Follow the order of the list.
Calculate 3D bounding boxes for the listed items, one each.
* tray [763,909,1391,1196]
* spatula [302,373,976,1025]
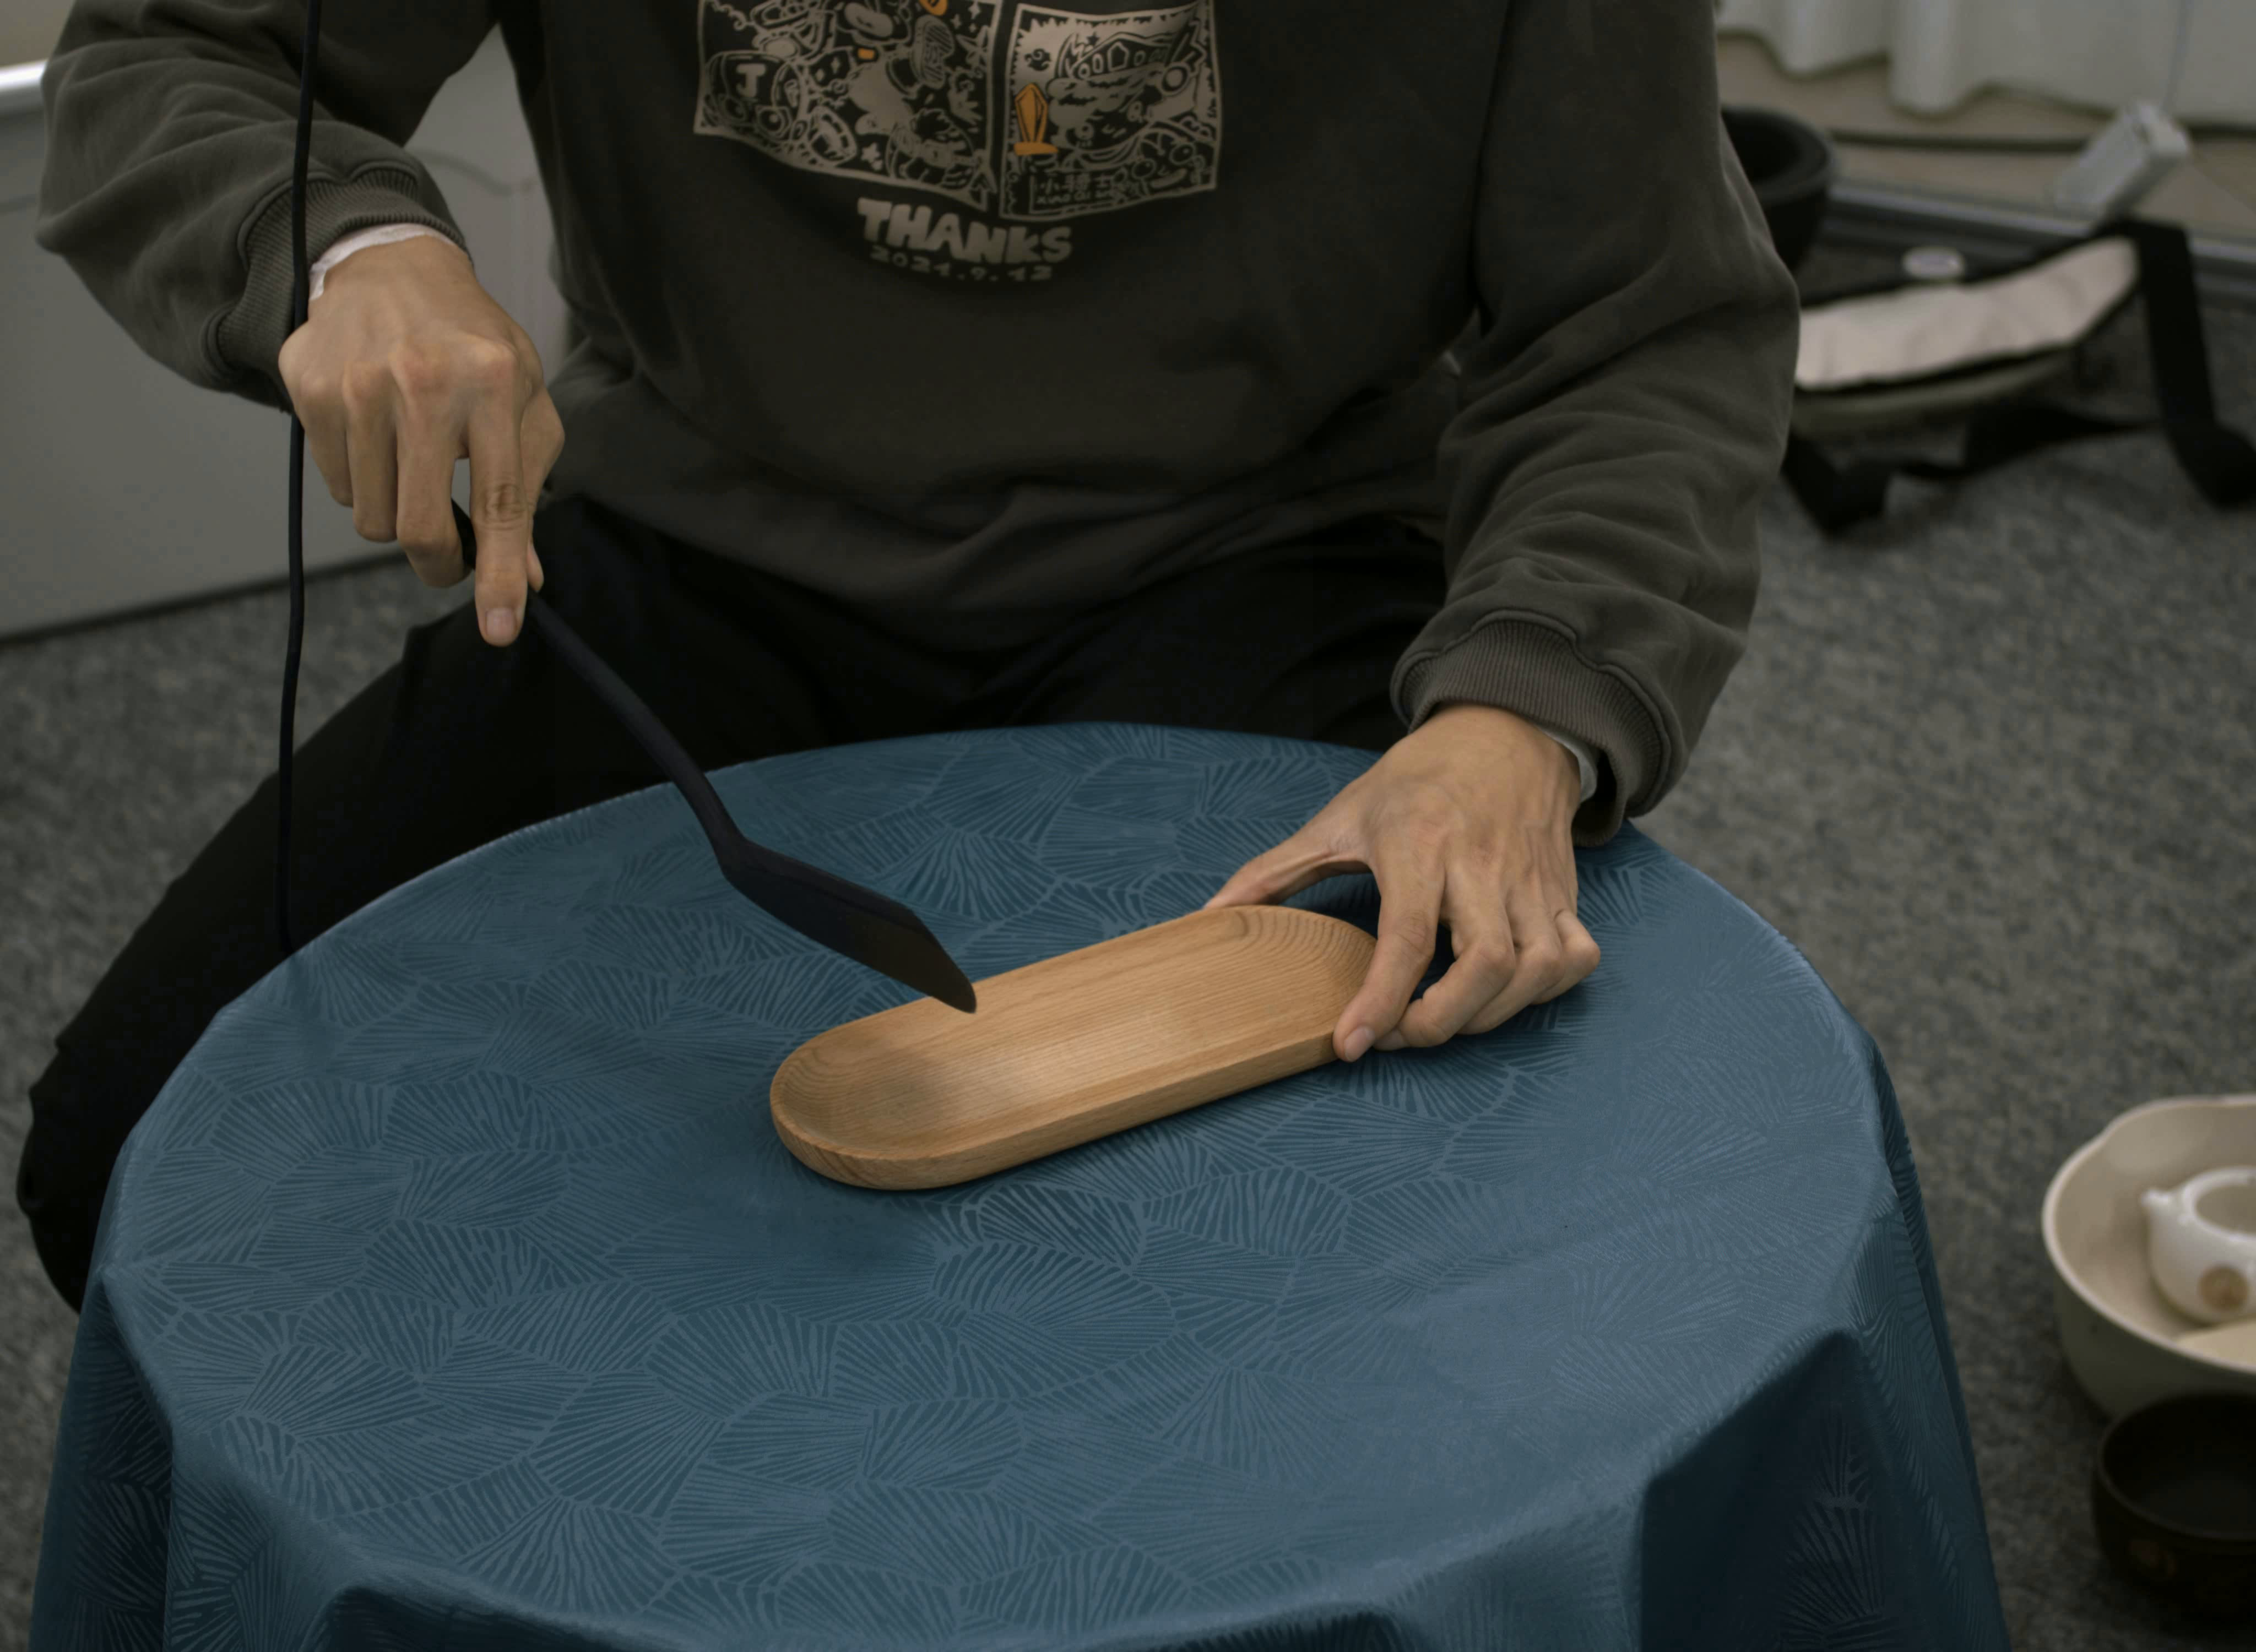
[{"bbox_3d":[-0.016,0.077,1.930,0.232,0.020,0.102,-18,30,-24],"label":"tray"},{"bbox_3d":[-0.170,-0.048,1.903,0.040,0.099,0.328,-39,72,-9],"label":"spatula"}]
